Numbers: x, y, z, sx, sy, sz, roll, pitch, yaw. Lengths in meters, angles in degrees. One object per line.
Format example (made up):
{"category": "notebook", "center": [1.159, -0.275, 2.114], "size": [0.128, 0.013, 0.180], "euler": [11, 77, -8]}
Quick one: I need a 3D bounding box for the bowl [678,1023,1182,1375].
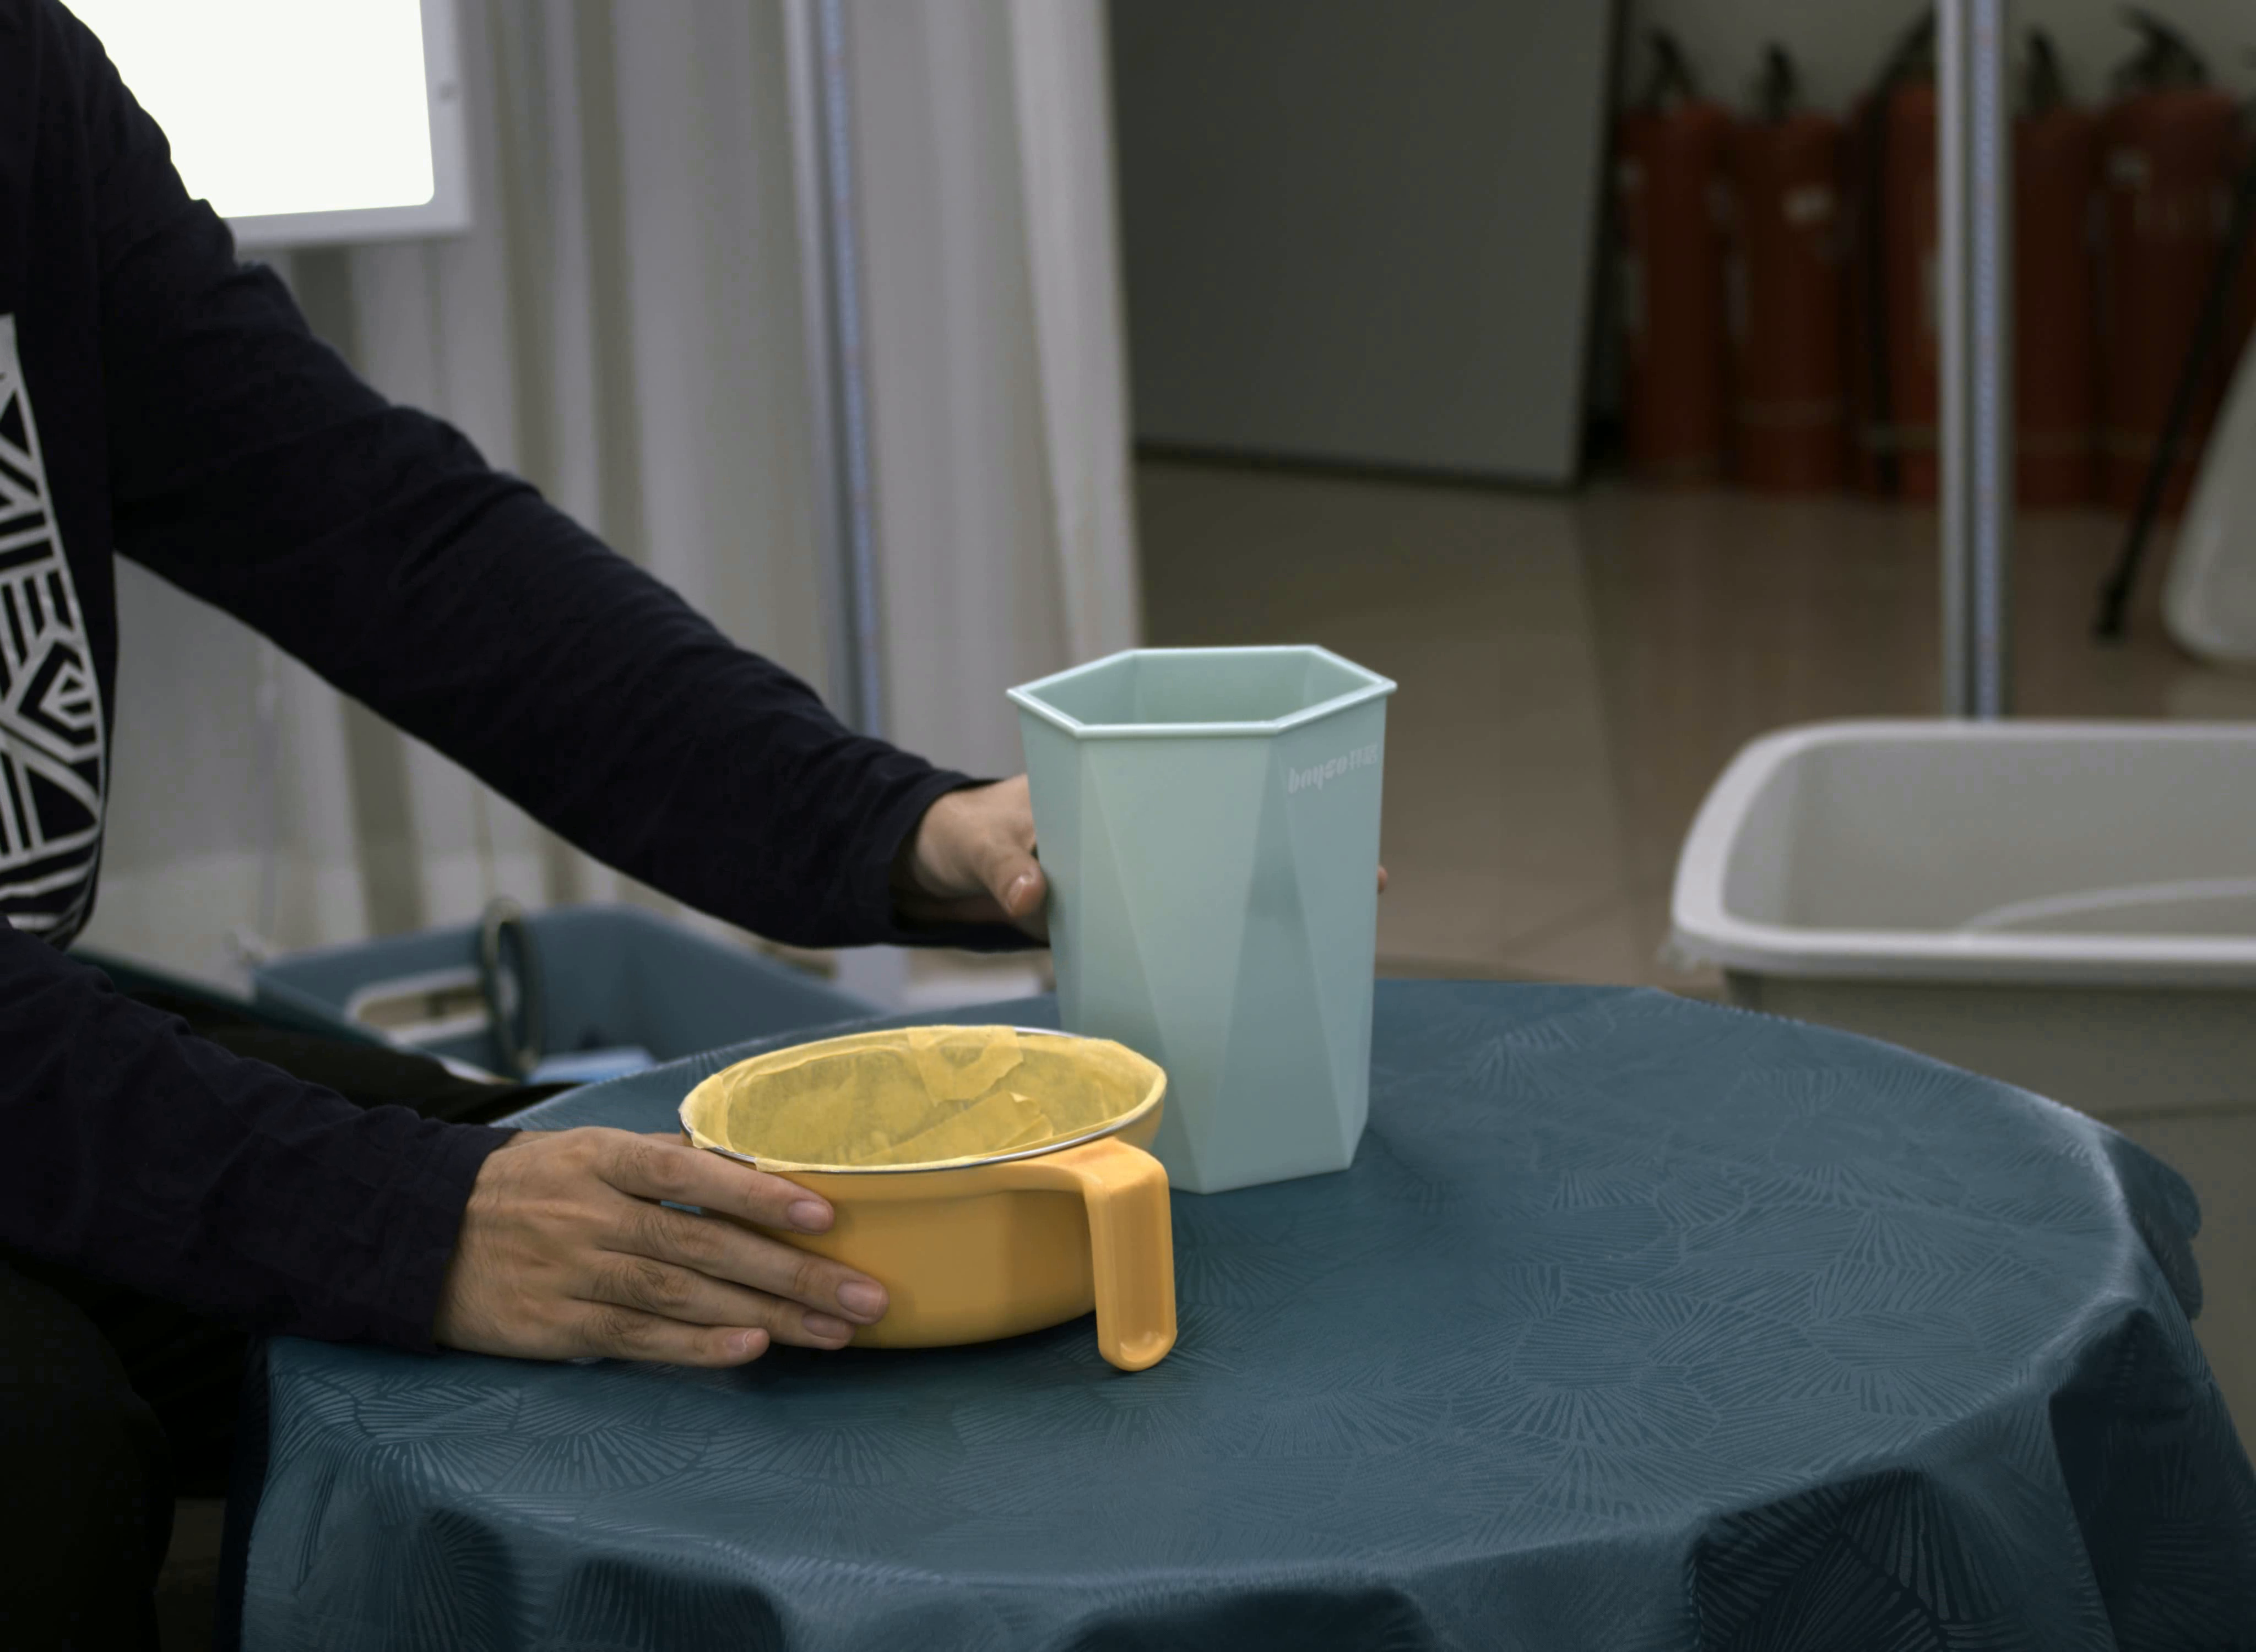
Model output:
{"category": "bowl", "center": [-0.053, 0.118, 1.665], "size": [0.150, 0.075, 0.181], "euler": [-16, 16, -40]}

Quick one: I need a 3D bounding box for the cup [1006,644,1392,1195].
{"category": "cup", "center": [0.029, 0.031, 1.794], "size": [0.116, 0.165, 0.128], "euler": [4, 14, 37]}
